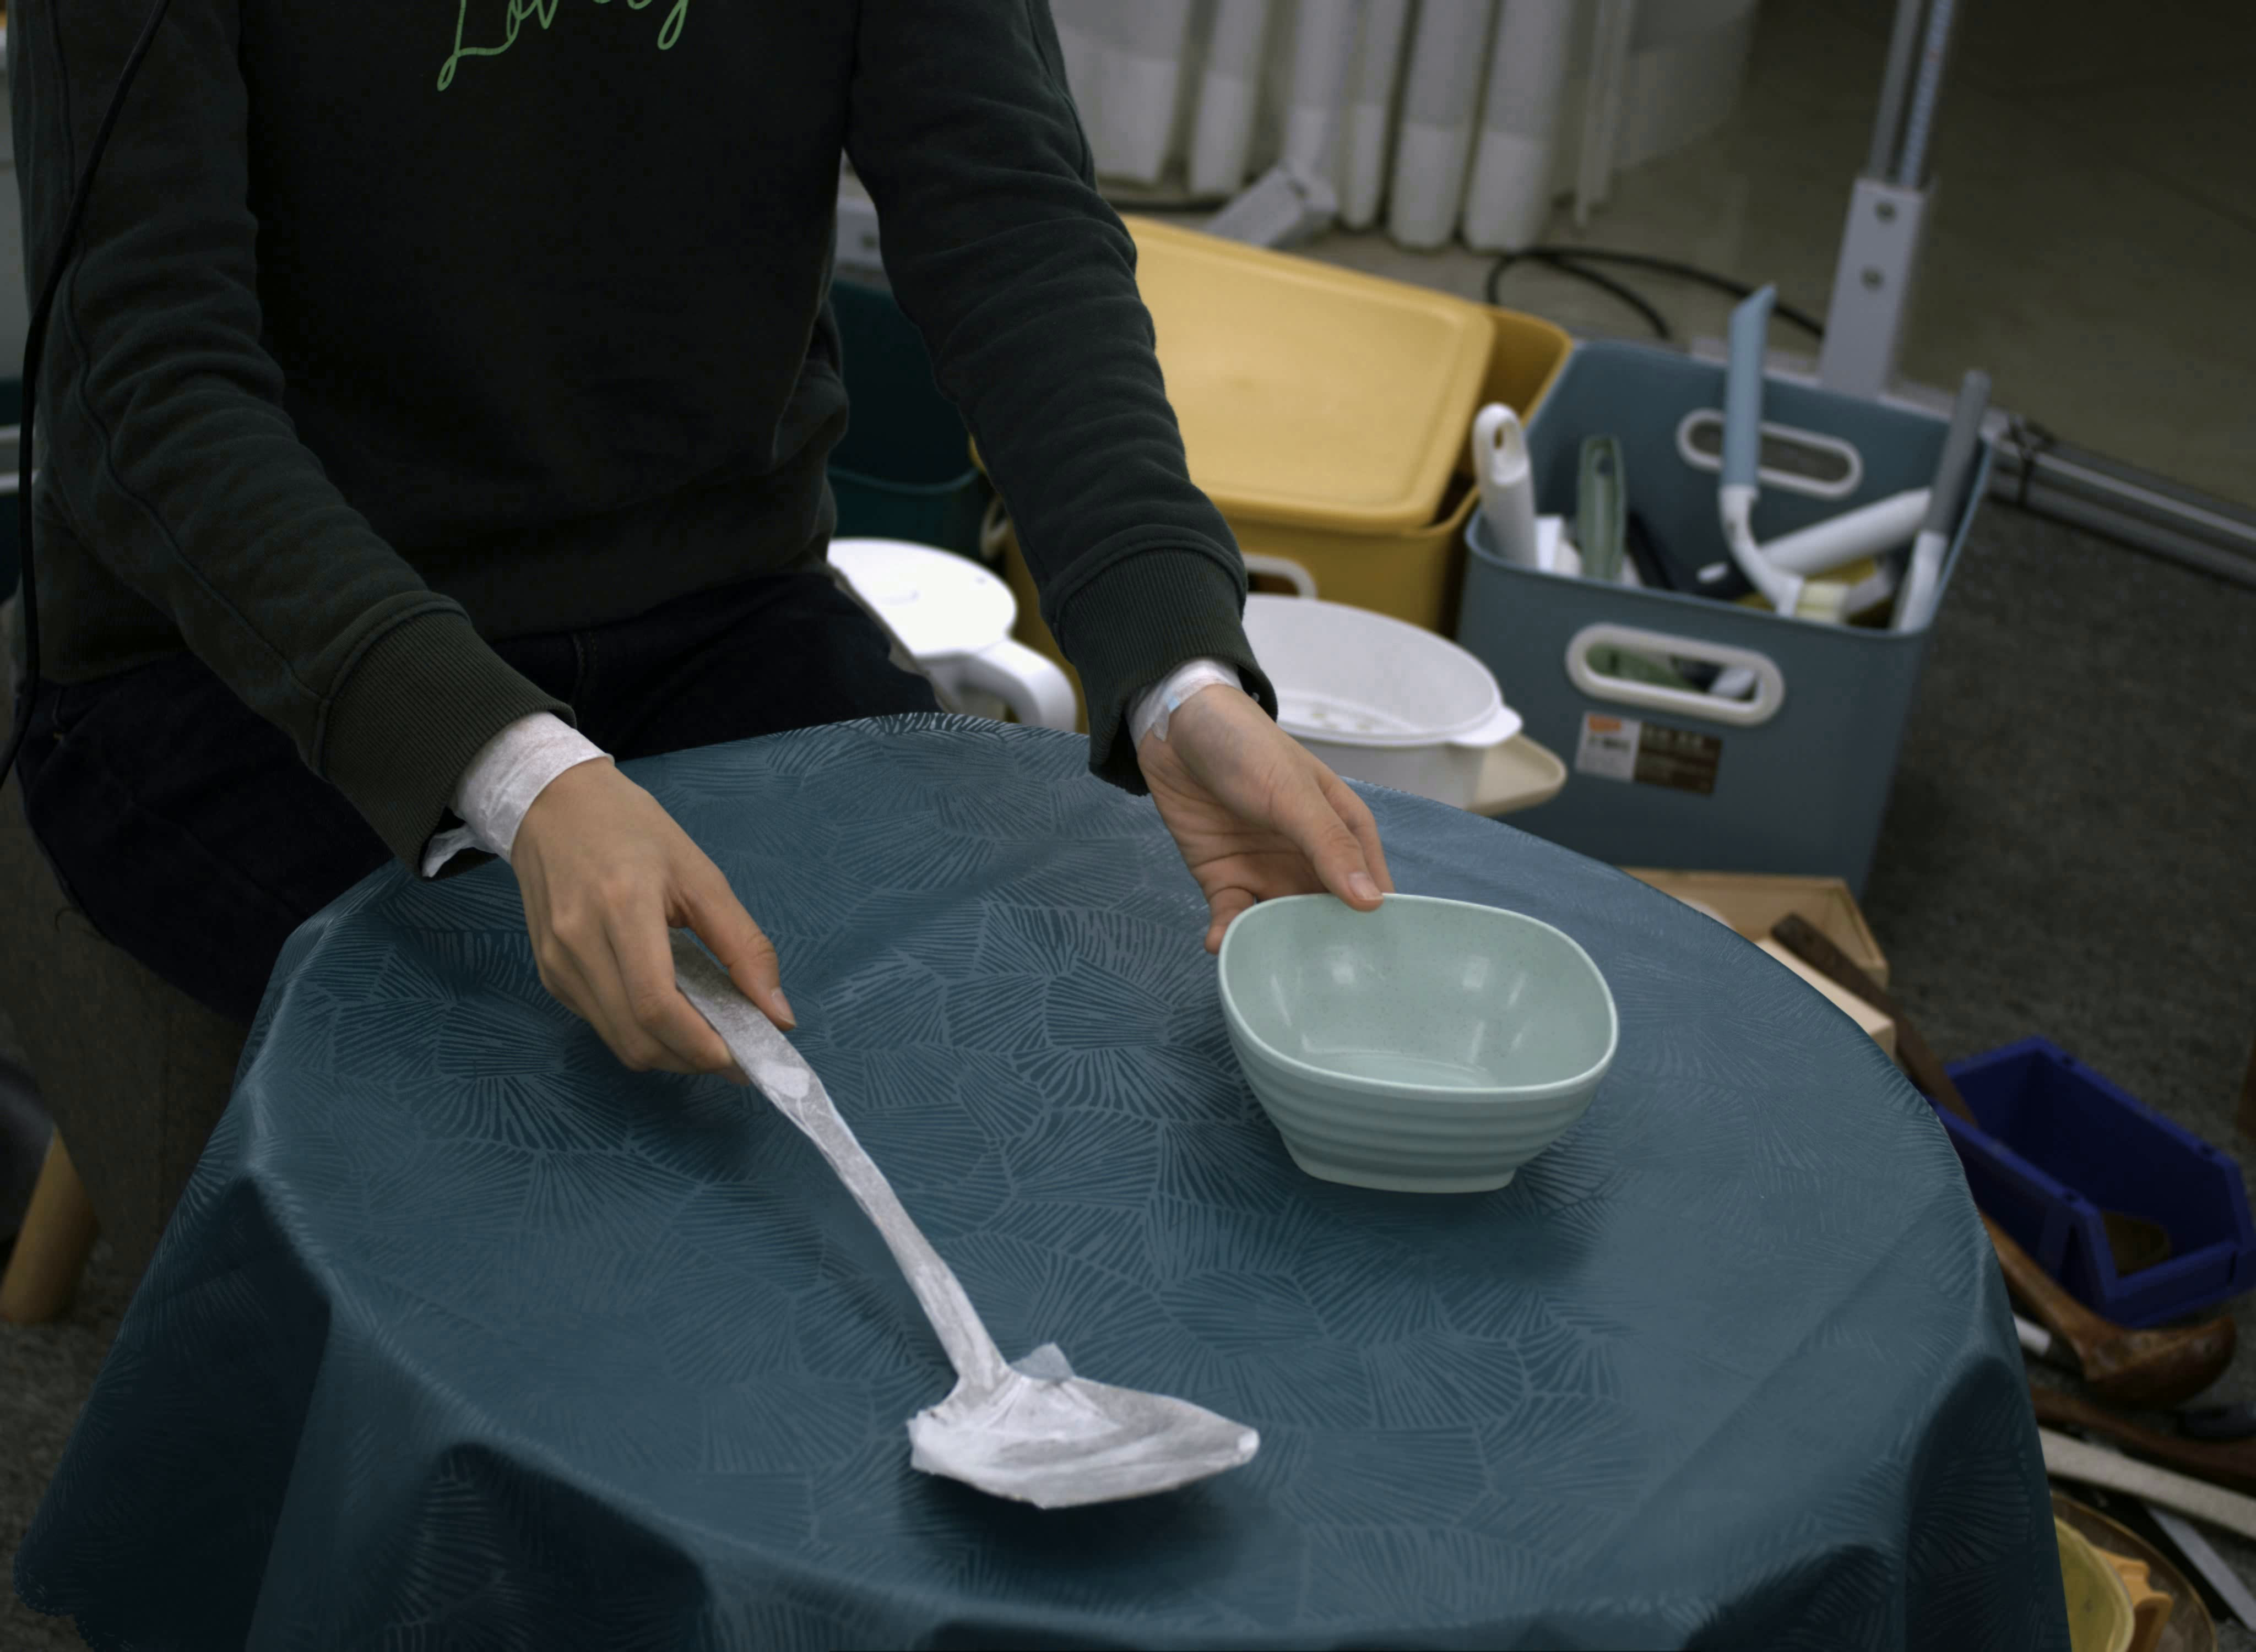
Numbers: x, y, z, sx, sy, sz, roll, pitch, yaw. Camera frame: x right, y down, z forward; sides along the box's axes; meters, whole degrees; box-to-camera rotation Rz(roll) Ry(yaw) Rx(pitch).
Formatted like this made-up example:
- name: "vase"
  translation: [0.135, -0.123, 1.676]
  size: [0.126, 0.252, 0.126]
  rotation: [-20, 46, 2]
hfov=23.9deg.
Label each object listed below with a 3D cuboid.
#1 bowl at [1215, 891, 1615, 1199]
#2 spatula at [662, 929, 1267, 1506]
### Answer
- name: "bowl"
  translation: [0.095, 0.082, 1.844]
  size: [0.151, 0.058, 0.152]
  rotation: [7, 28, -4]
- name: "spatula"
  translation: [-0.077, 0.118, 1.728]
  size: [0.098, 0.044, 0.368]
  rotation: [-9, 37, -27]
